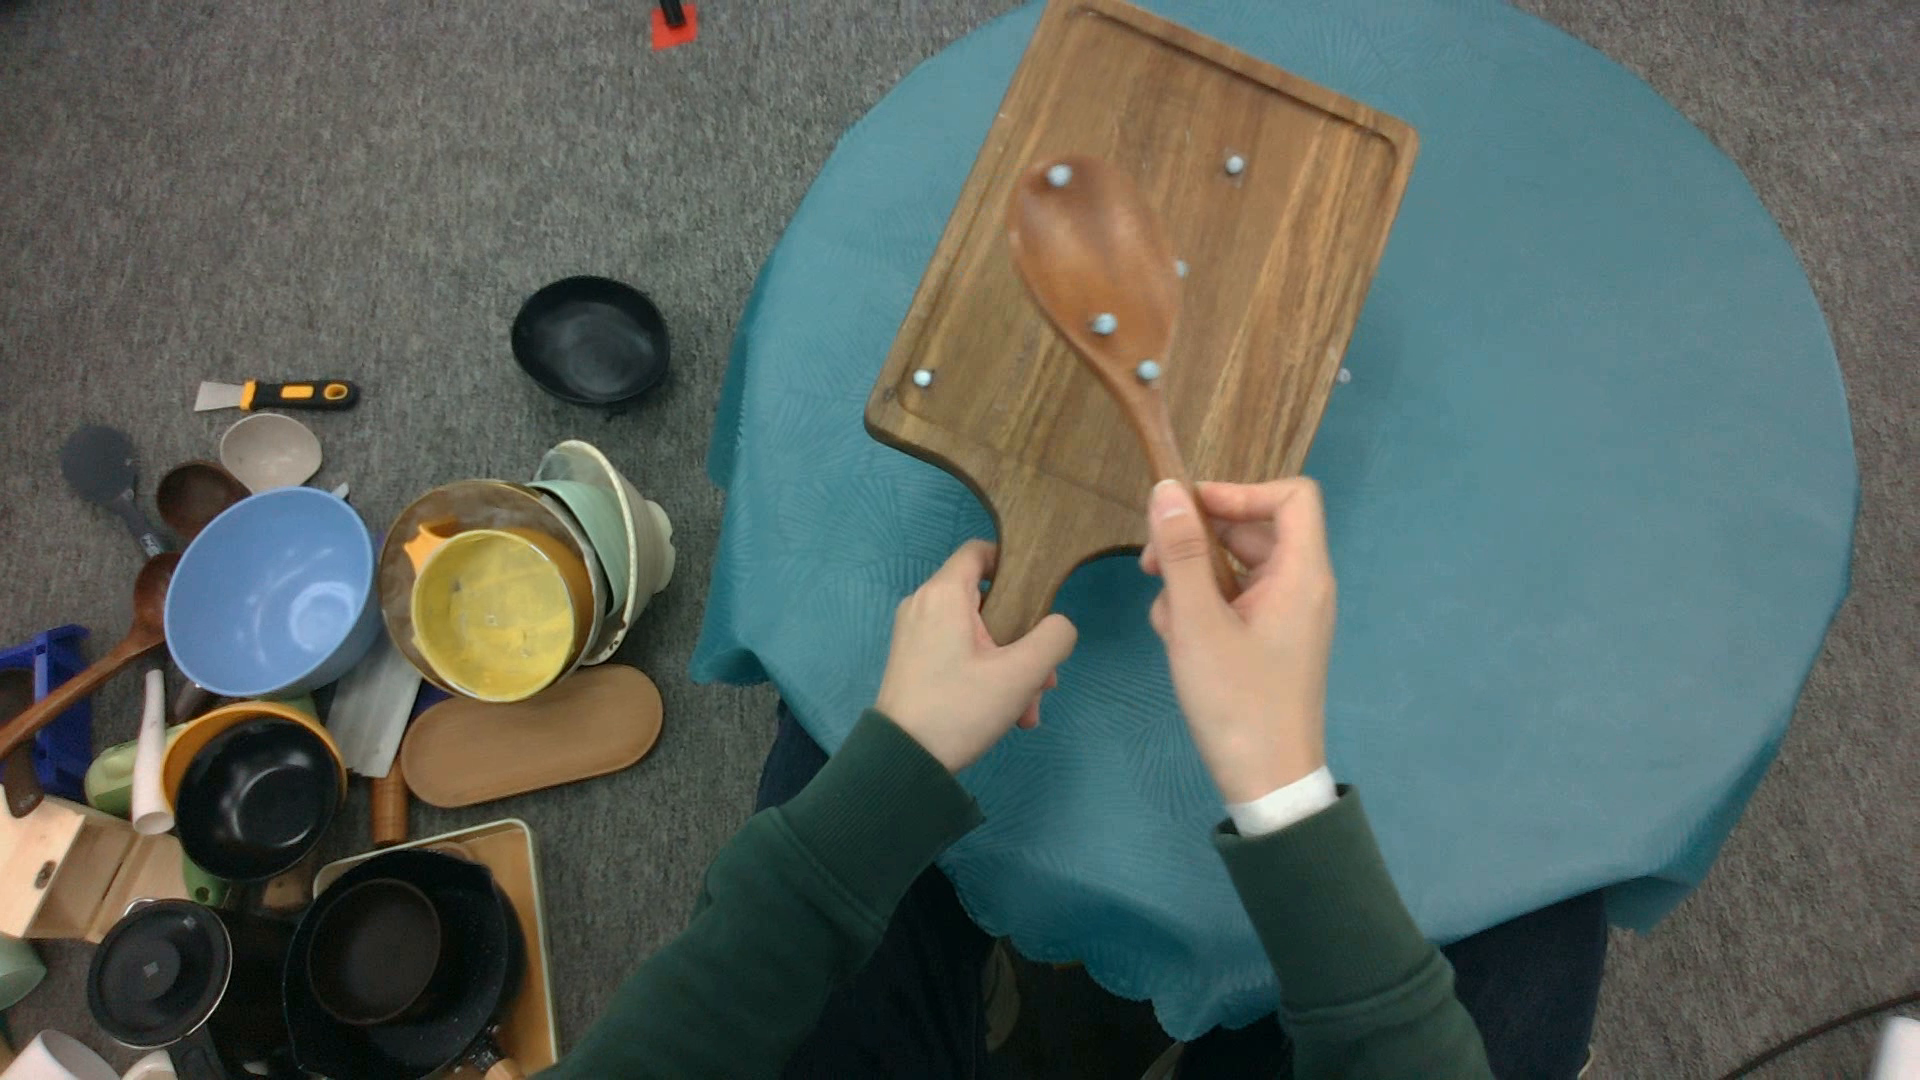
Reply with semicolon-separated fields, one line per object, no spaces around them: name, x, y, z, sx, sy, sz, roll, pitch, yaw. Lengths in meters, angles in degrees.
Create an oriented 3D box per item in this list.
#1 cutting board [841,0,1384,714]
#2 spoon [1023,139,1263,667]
cutting board;0.061;-0.086;0.643;0.201;0.023;0.353;23;75;-3
spoon;0.074;-0.056;0.534;0.076;0.017;0.216;-11;79;-32
